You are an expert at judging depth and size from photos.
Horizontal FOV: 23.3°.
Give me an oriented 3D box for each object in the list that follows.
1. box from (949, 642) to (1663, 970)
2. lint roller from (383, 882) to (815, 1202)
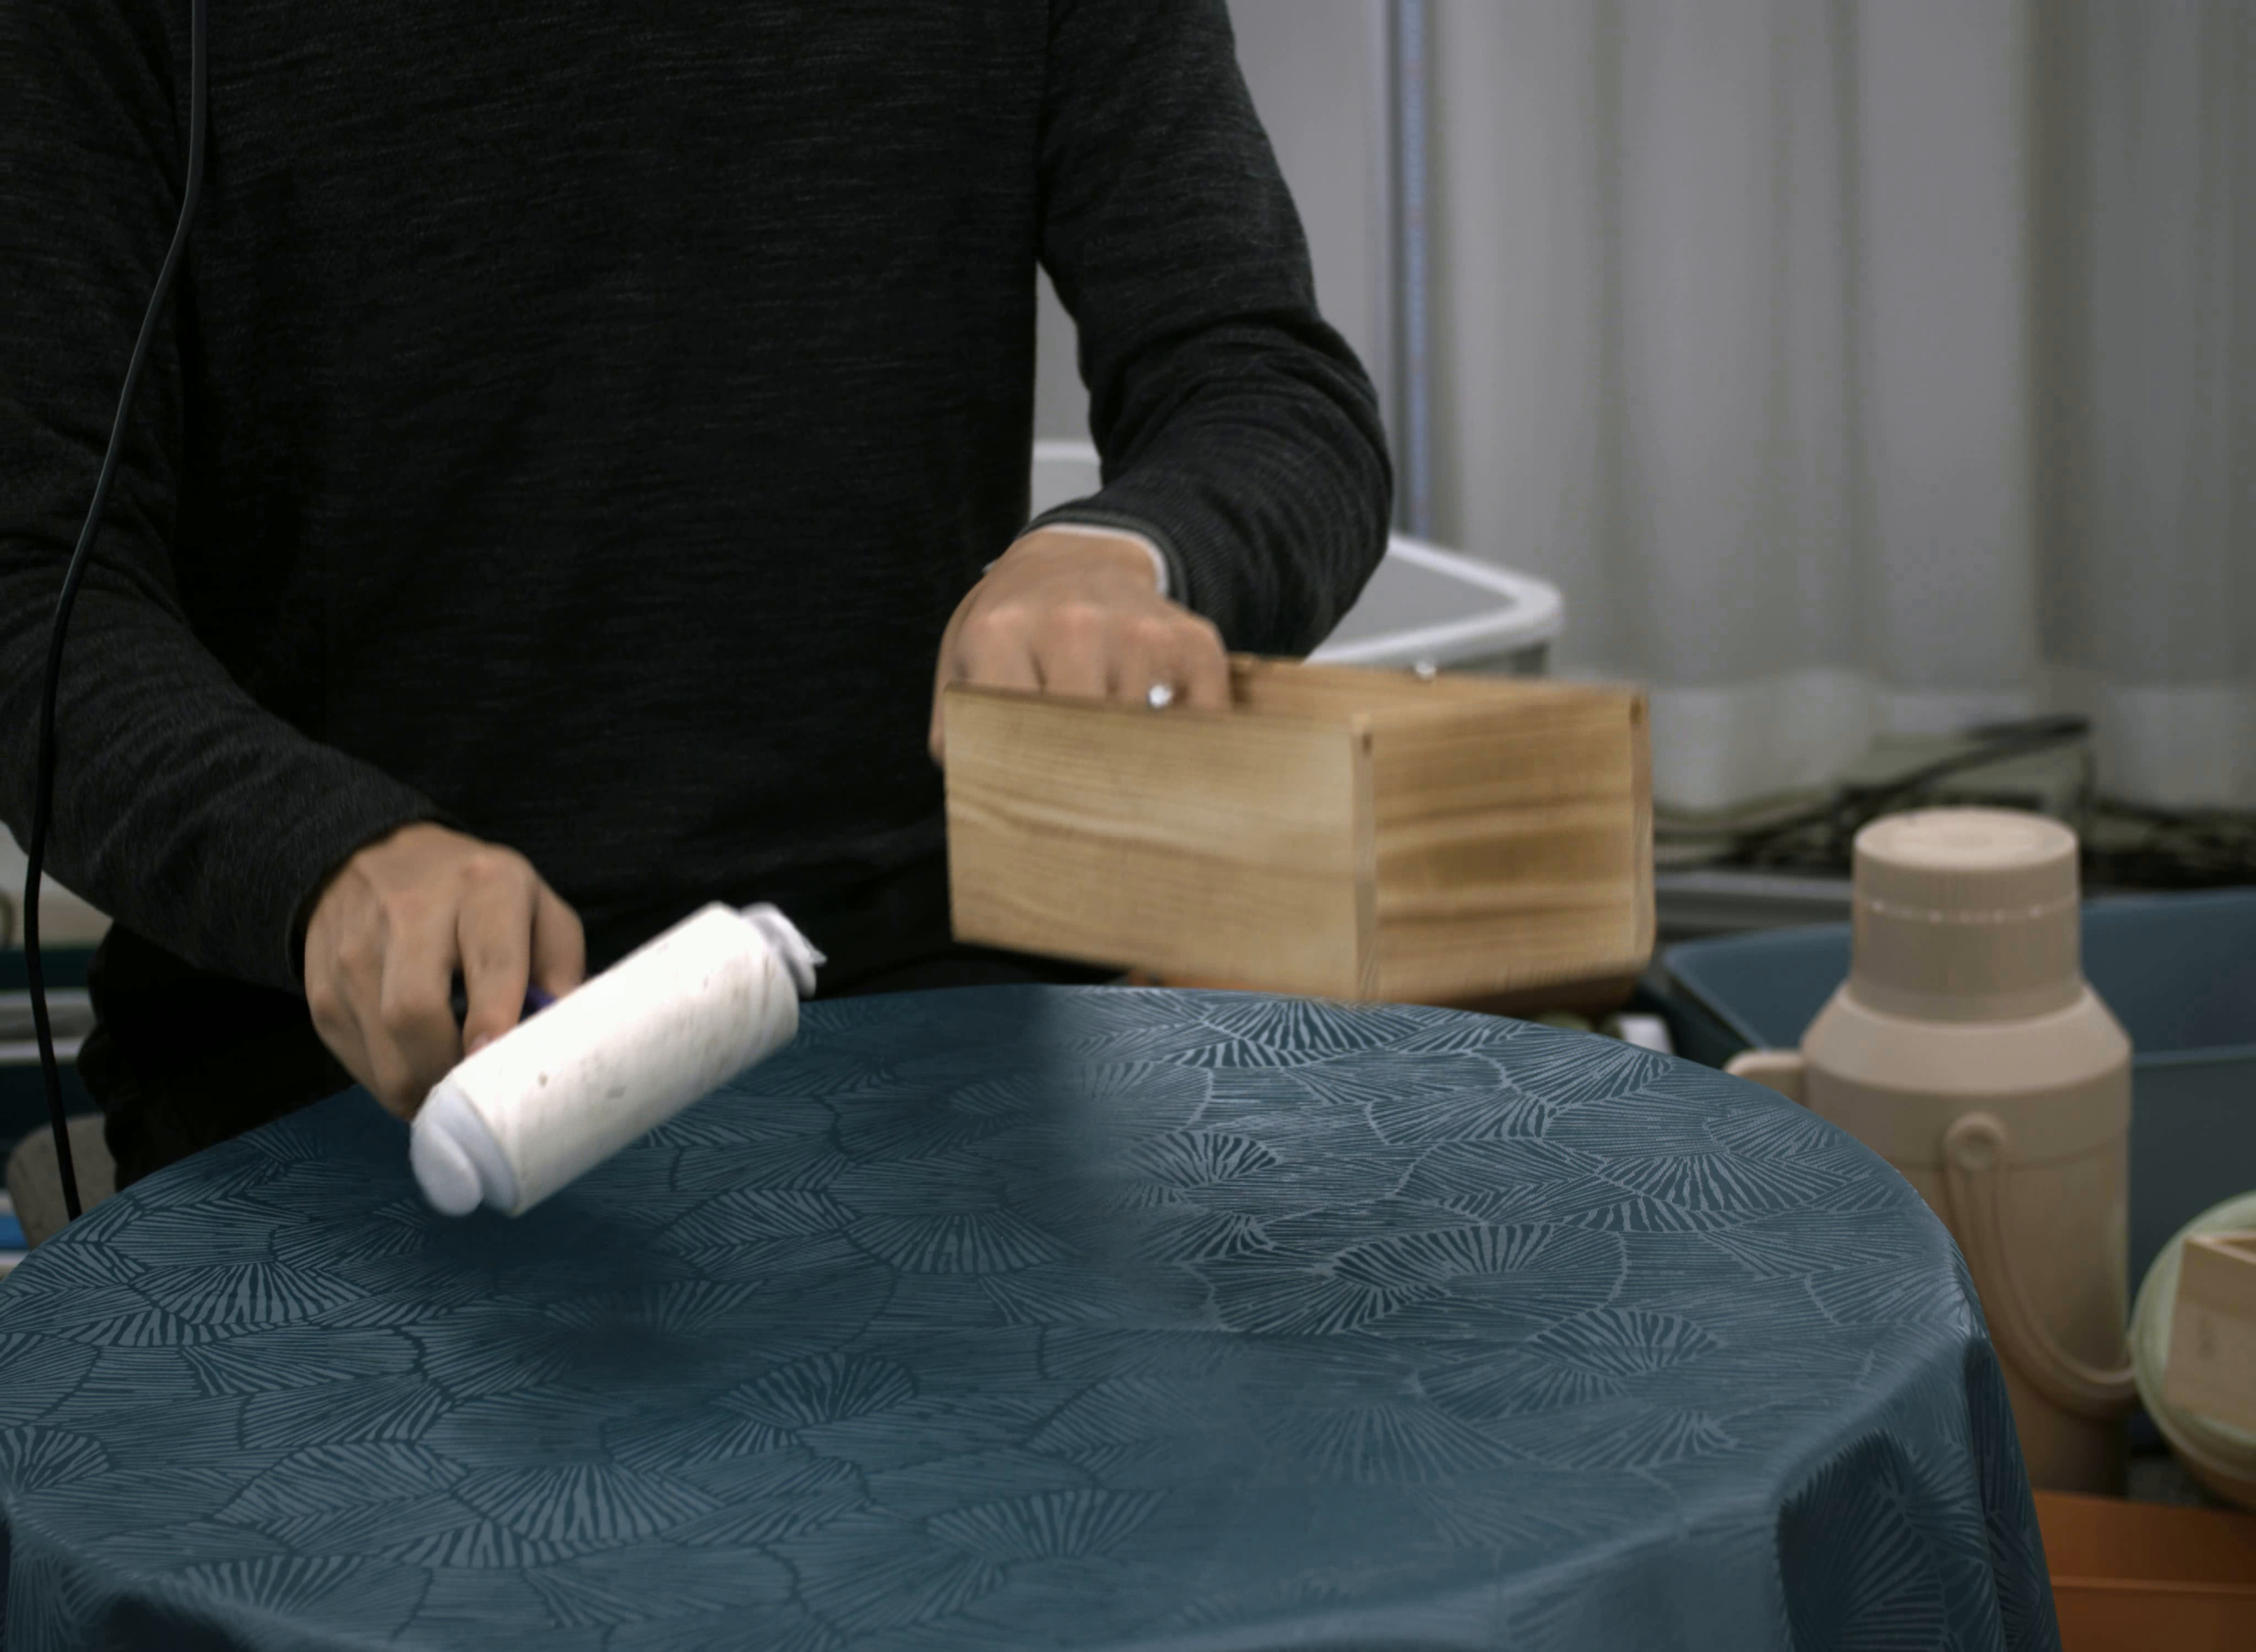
[{"bbox_3d":[0.049,-0.009,1.609,0.107,0.080,0.212,-7,6,-33],"label":"box"},{"bbox_3d":[-0.182,0.050,1.641,0.133,0.049,0.182,-35,28,-21],"label":"lint roller"}]
